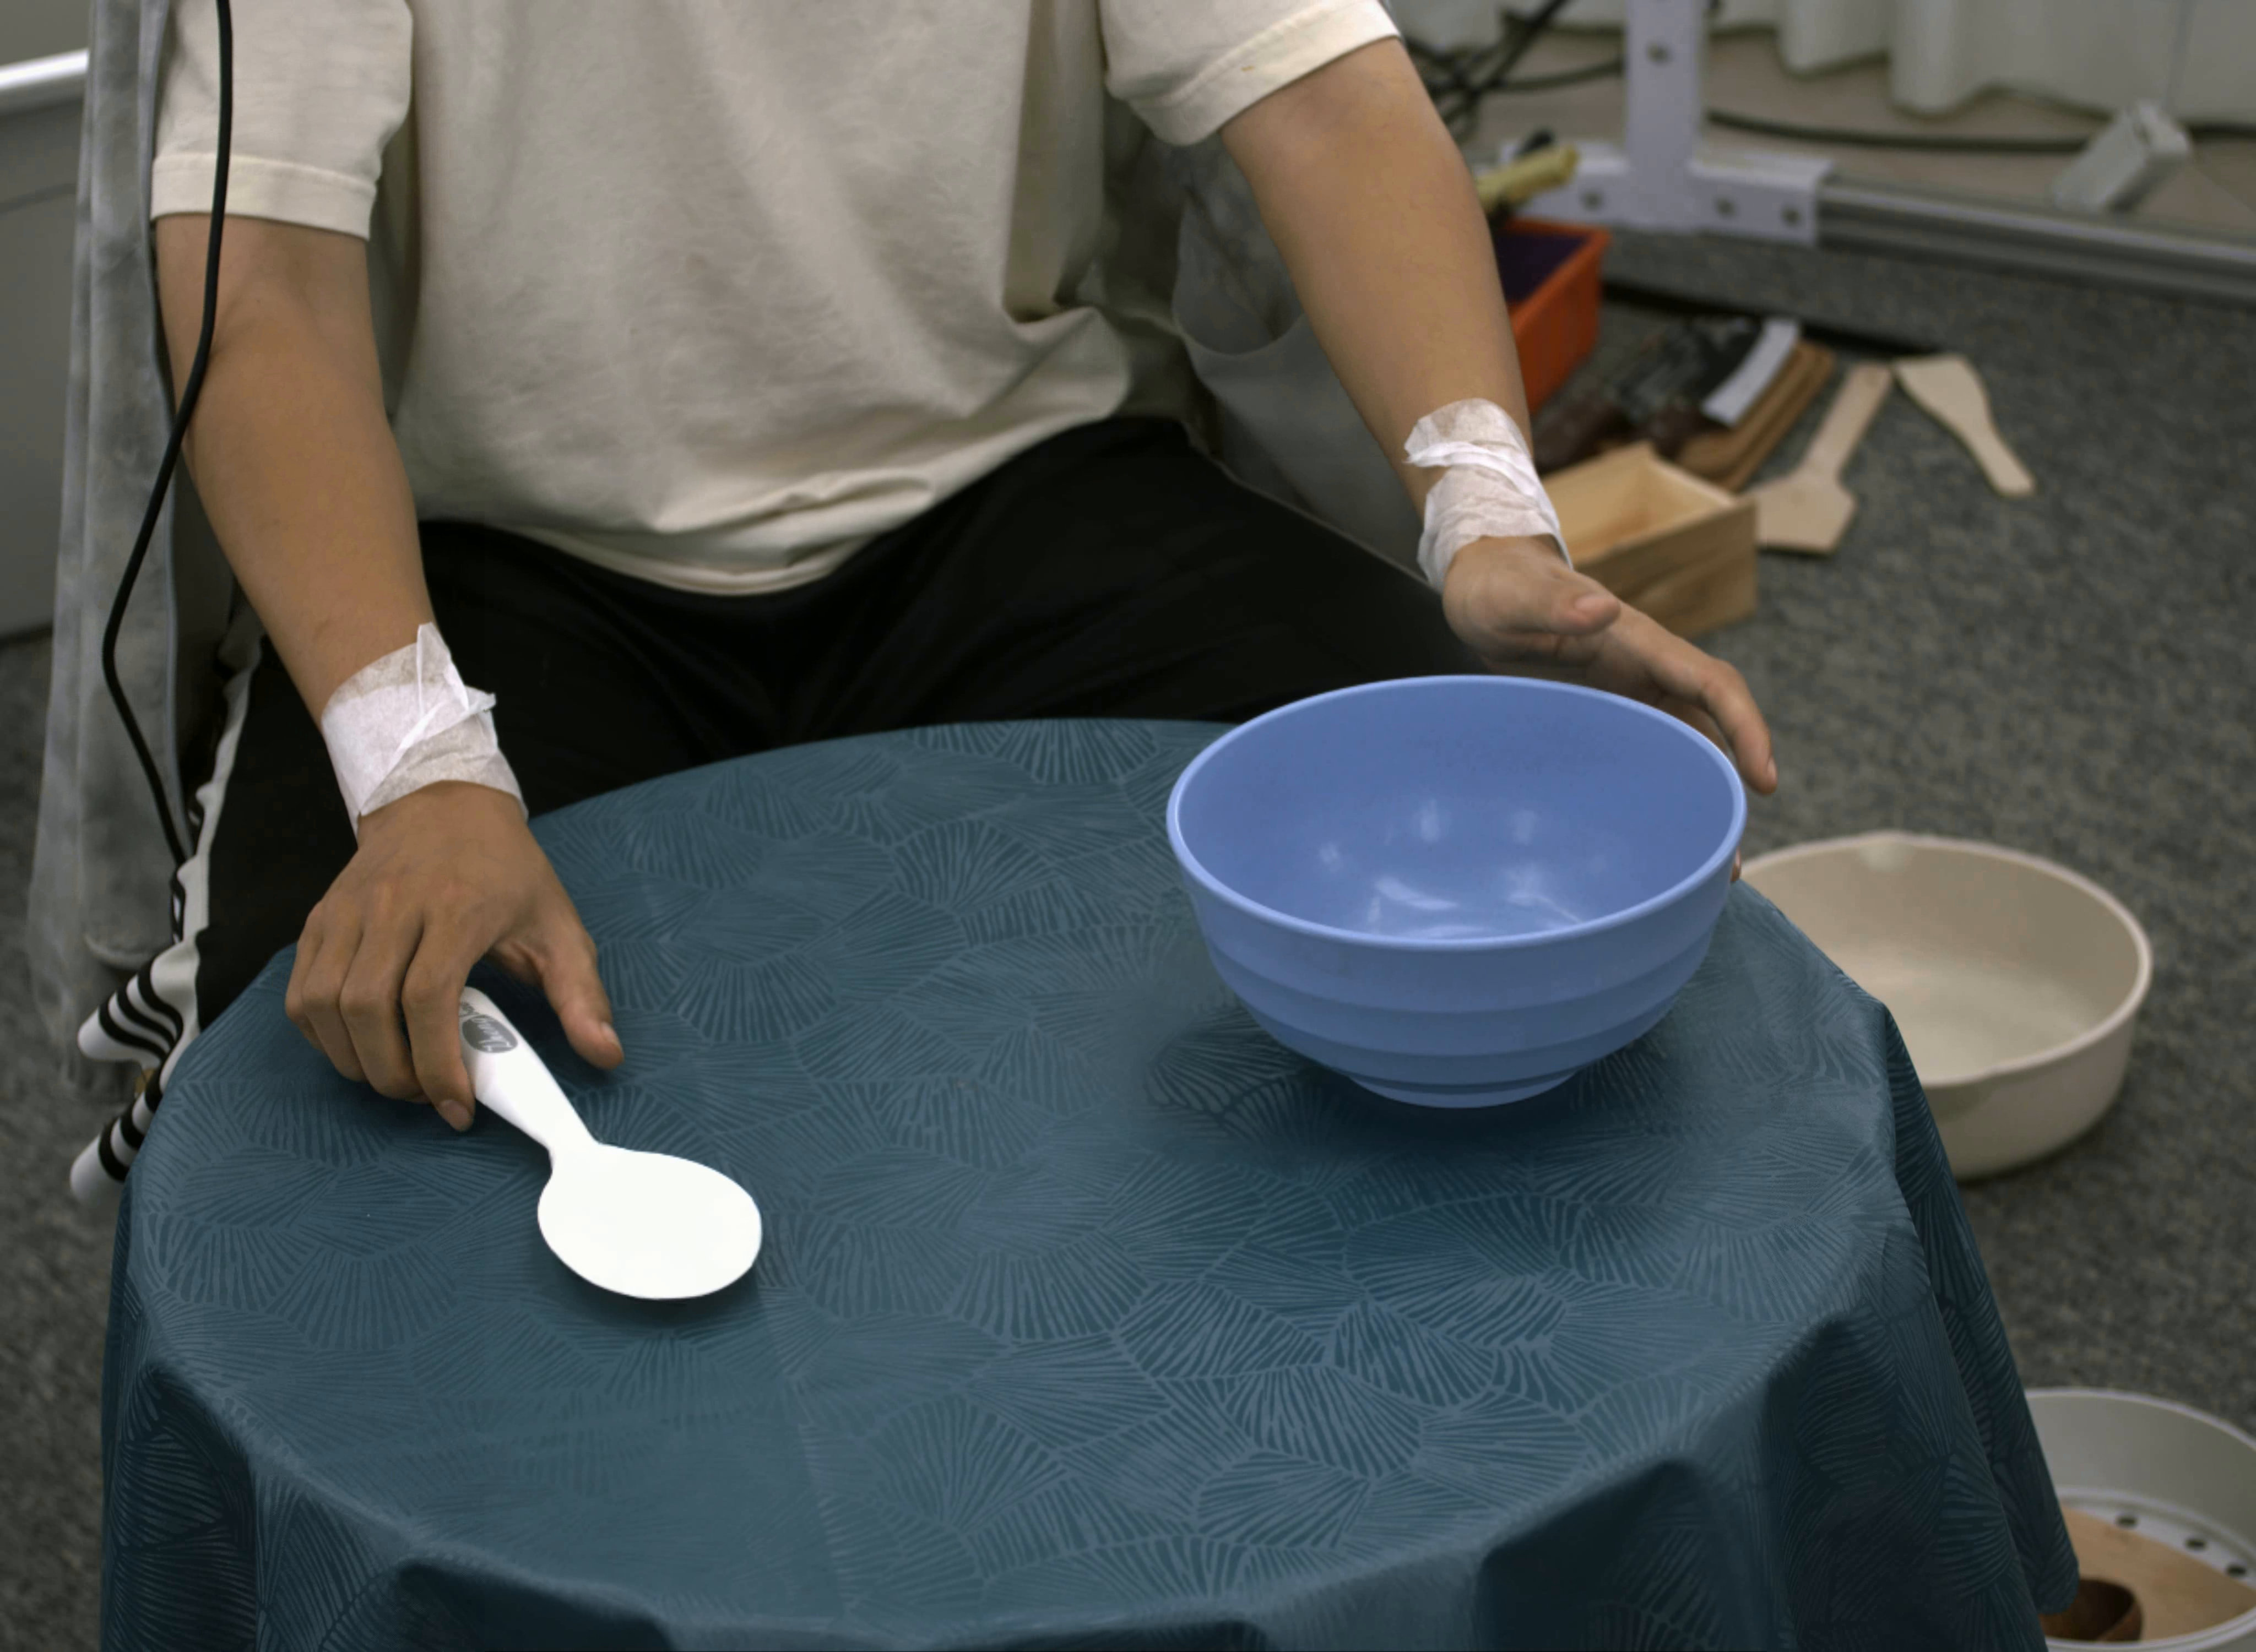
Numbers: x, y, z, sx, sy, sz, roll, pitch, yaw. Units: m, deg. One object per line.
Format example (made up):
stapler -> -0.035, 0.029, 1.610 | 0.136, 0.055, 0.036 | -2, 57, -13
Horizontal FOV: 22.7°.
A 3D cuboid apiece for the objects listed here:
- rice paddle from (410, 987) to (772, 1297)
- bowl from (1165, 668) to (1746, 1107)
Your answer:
rice paddle -> -0.183, 0.107, 1.873 | 0.069, 0.029, 0.206 | -19, 31, -25
bowl -> 0.113, 0.032, 1.918 | 0.195, 0.094, 0.199 | -3, 28, 2
